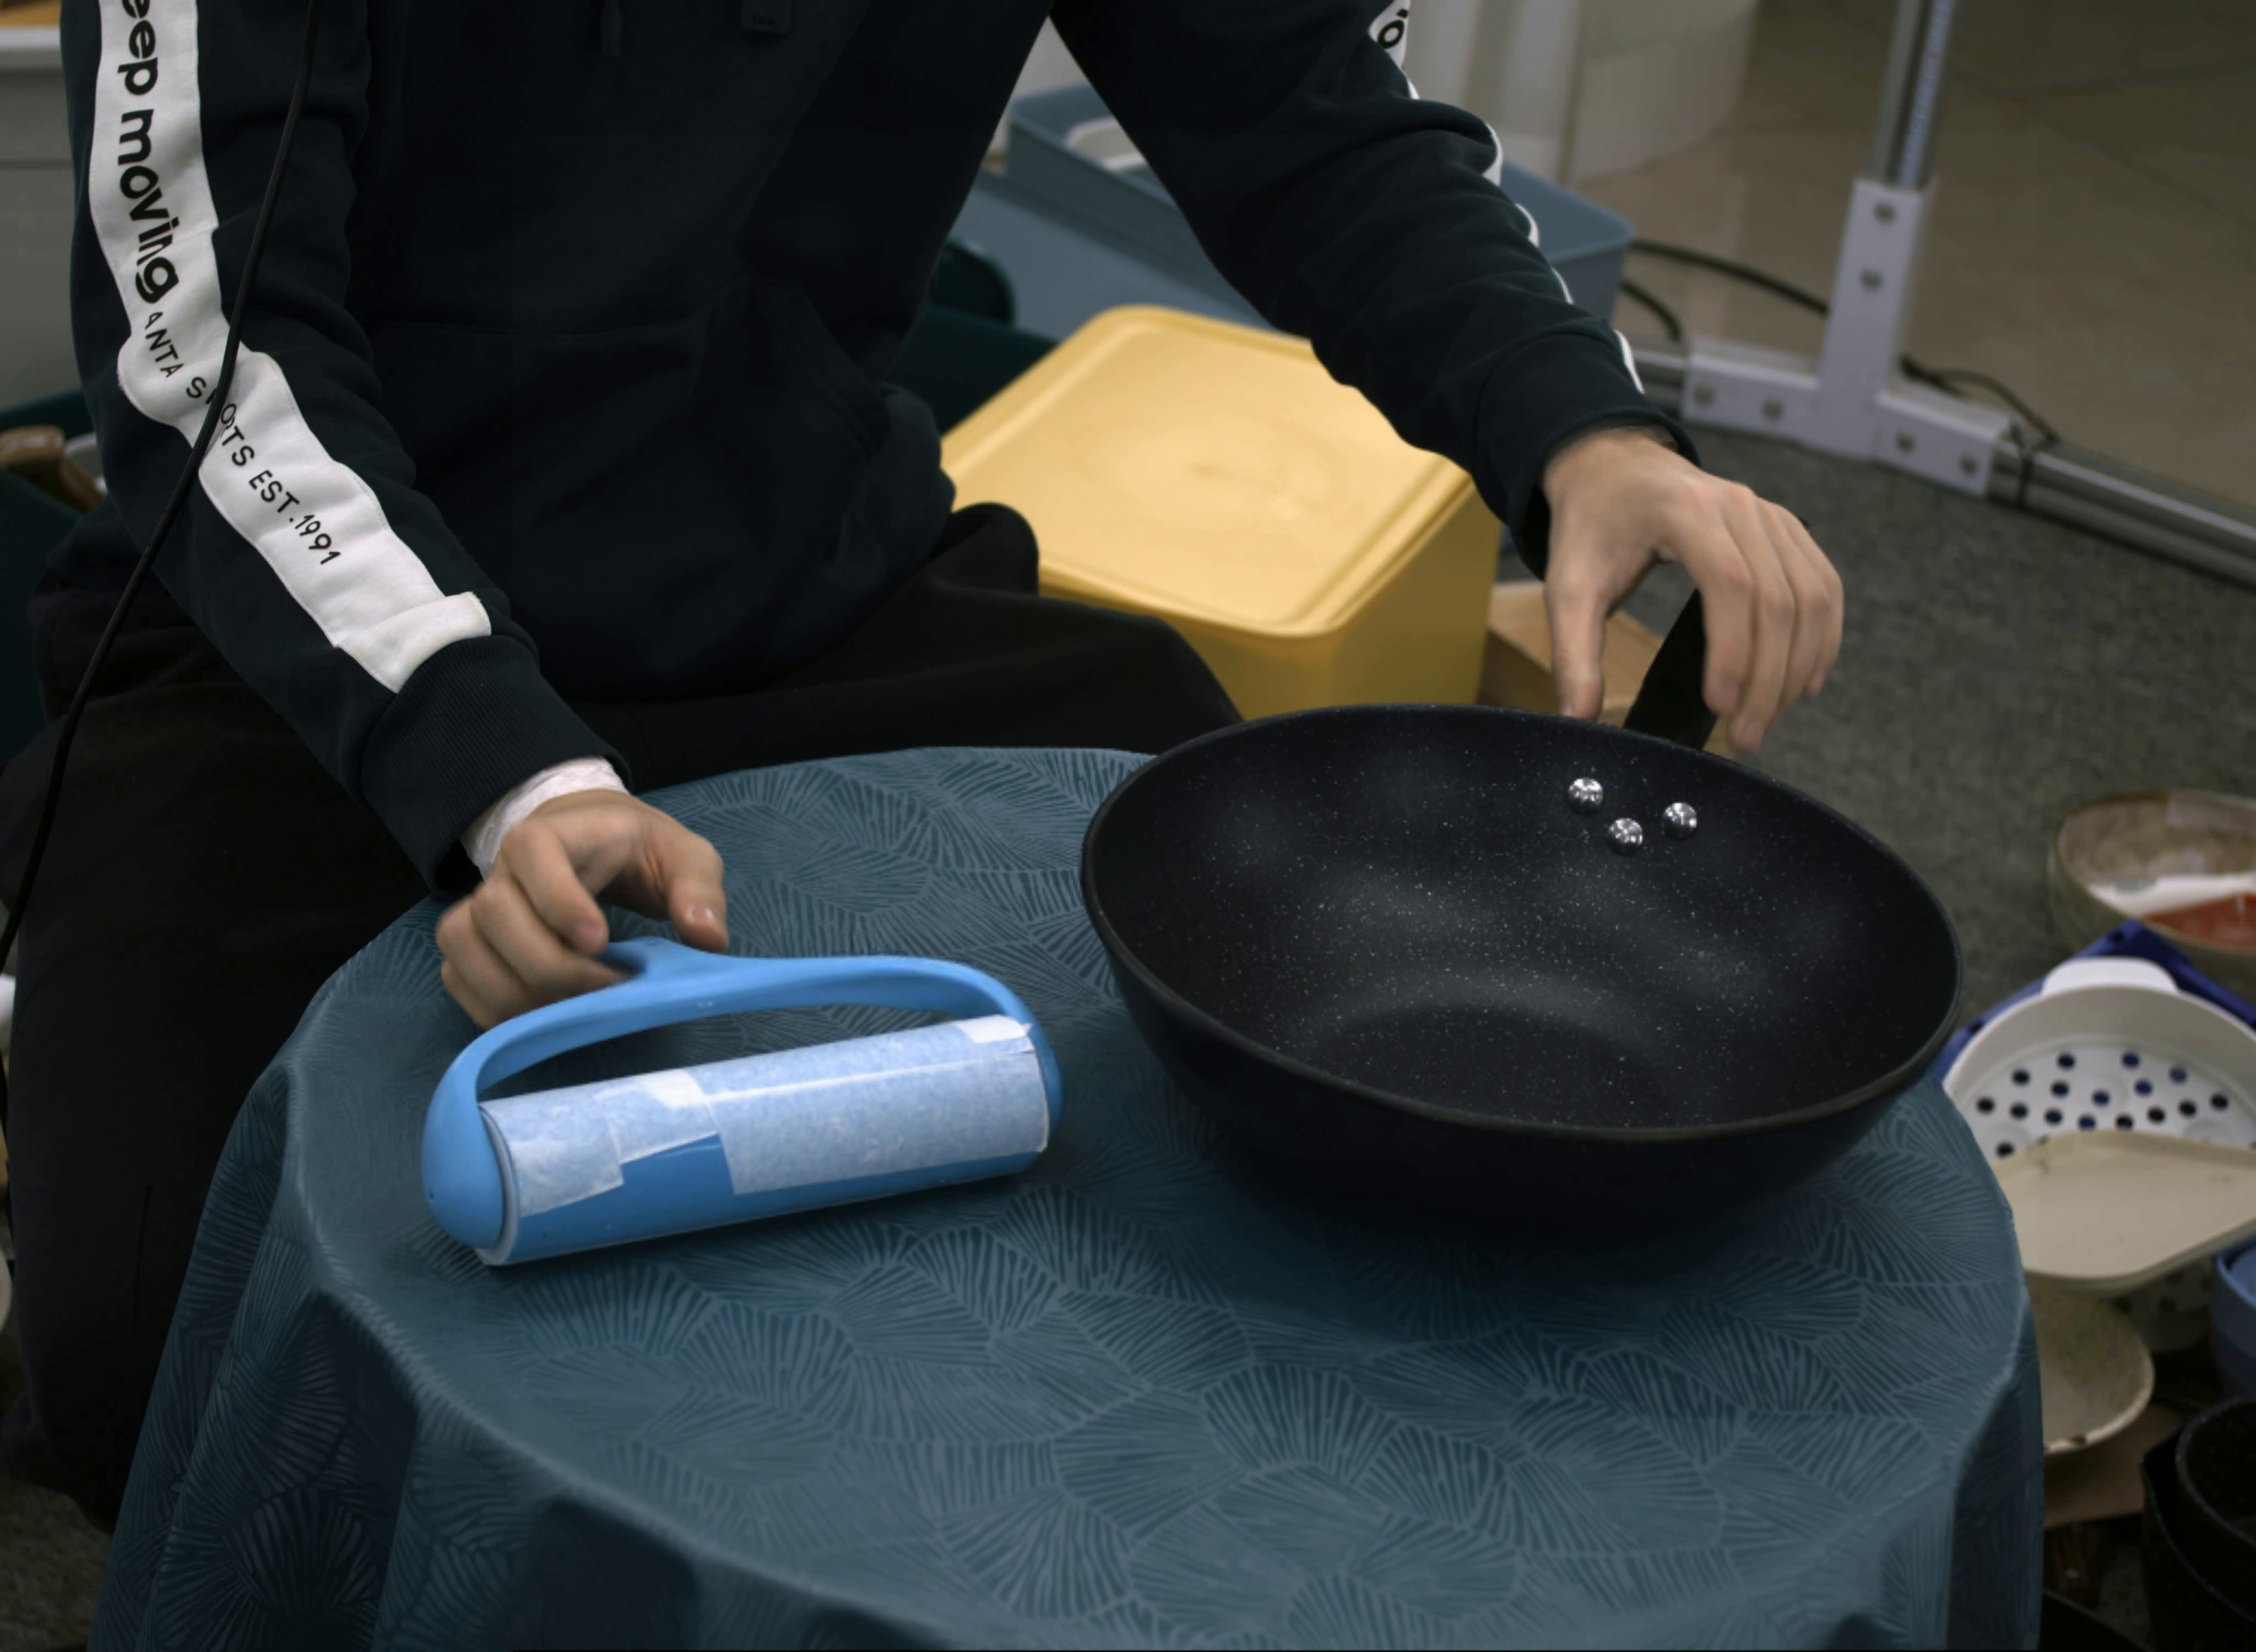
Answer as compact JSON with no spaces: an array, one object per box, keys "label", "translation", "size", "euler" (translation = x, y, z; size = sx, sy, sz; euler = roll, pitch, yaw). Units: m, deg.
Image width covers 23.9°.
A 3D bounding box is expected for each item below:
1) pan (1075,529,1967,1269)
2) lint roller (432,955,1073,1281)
[{"label":"pan","translation":[0.162,0.026,1.911],"size":[0.311,0.111,0.477],"euler":[17,29,16]},{"label":"lint roller","translation":[-0.151,0.078,1.794],"size":[0.227,0.067,0.182],"euler":[-12,32,-29]}]
